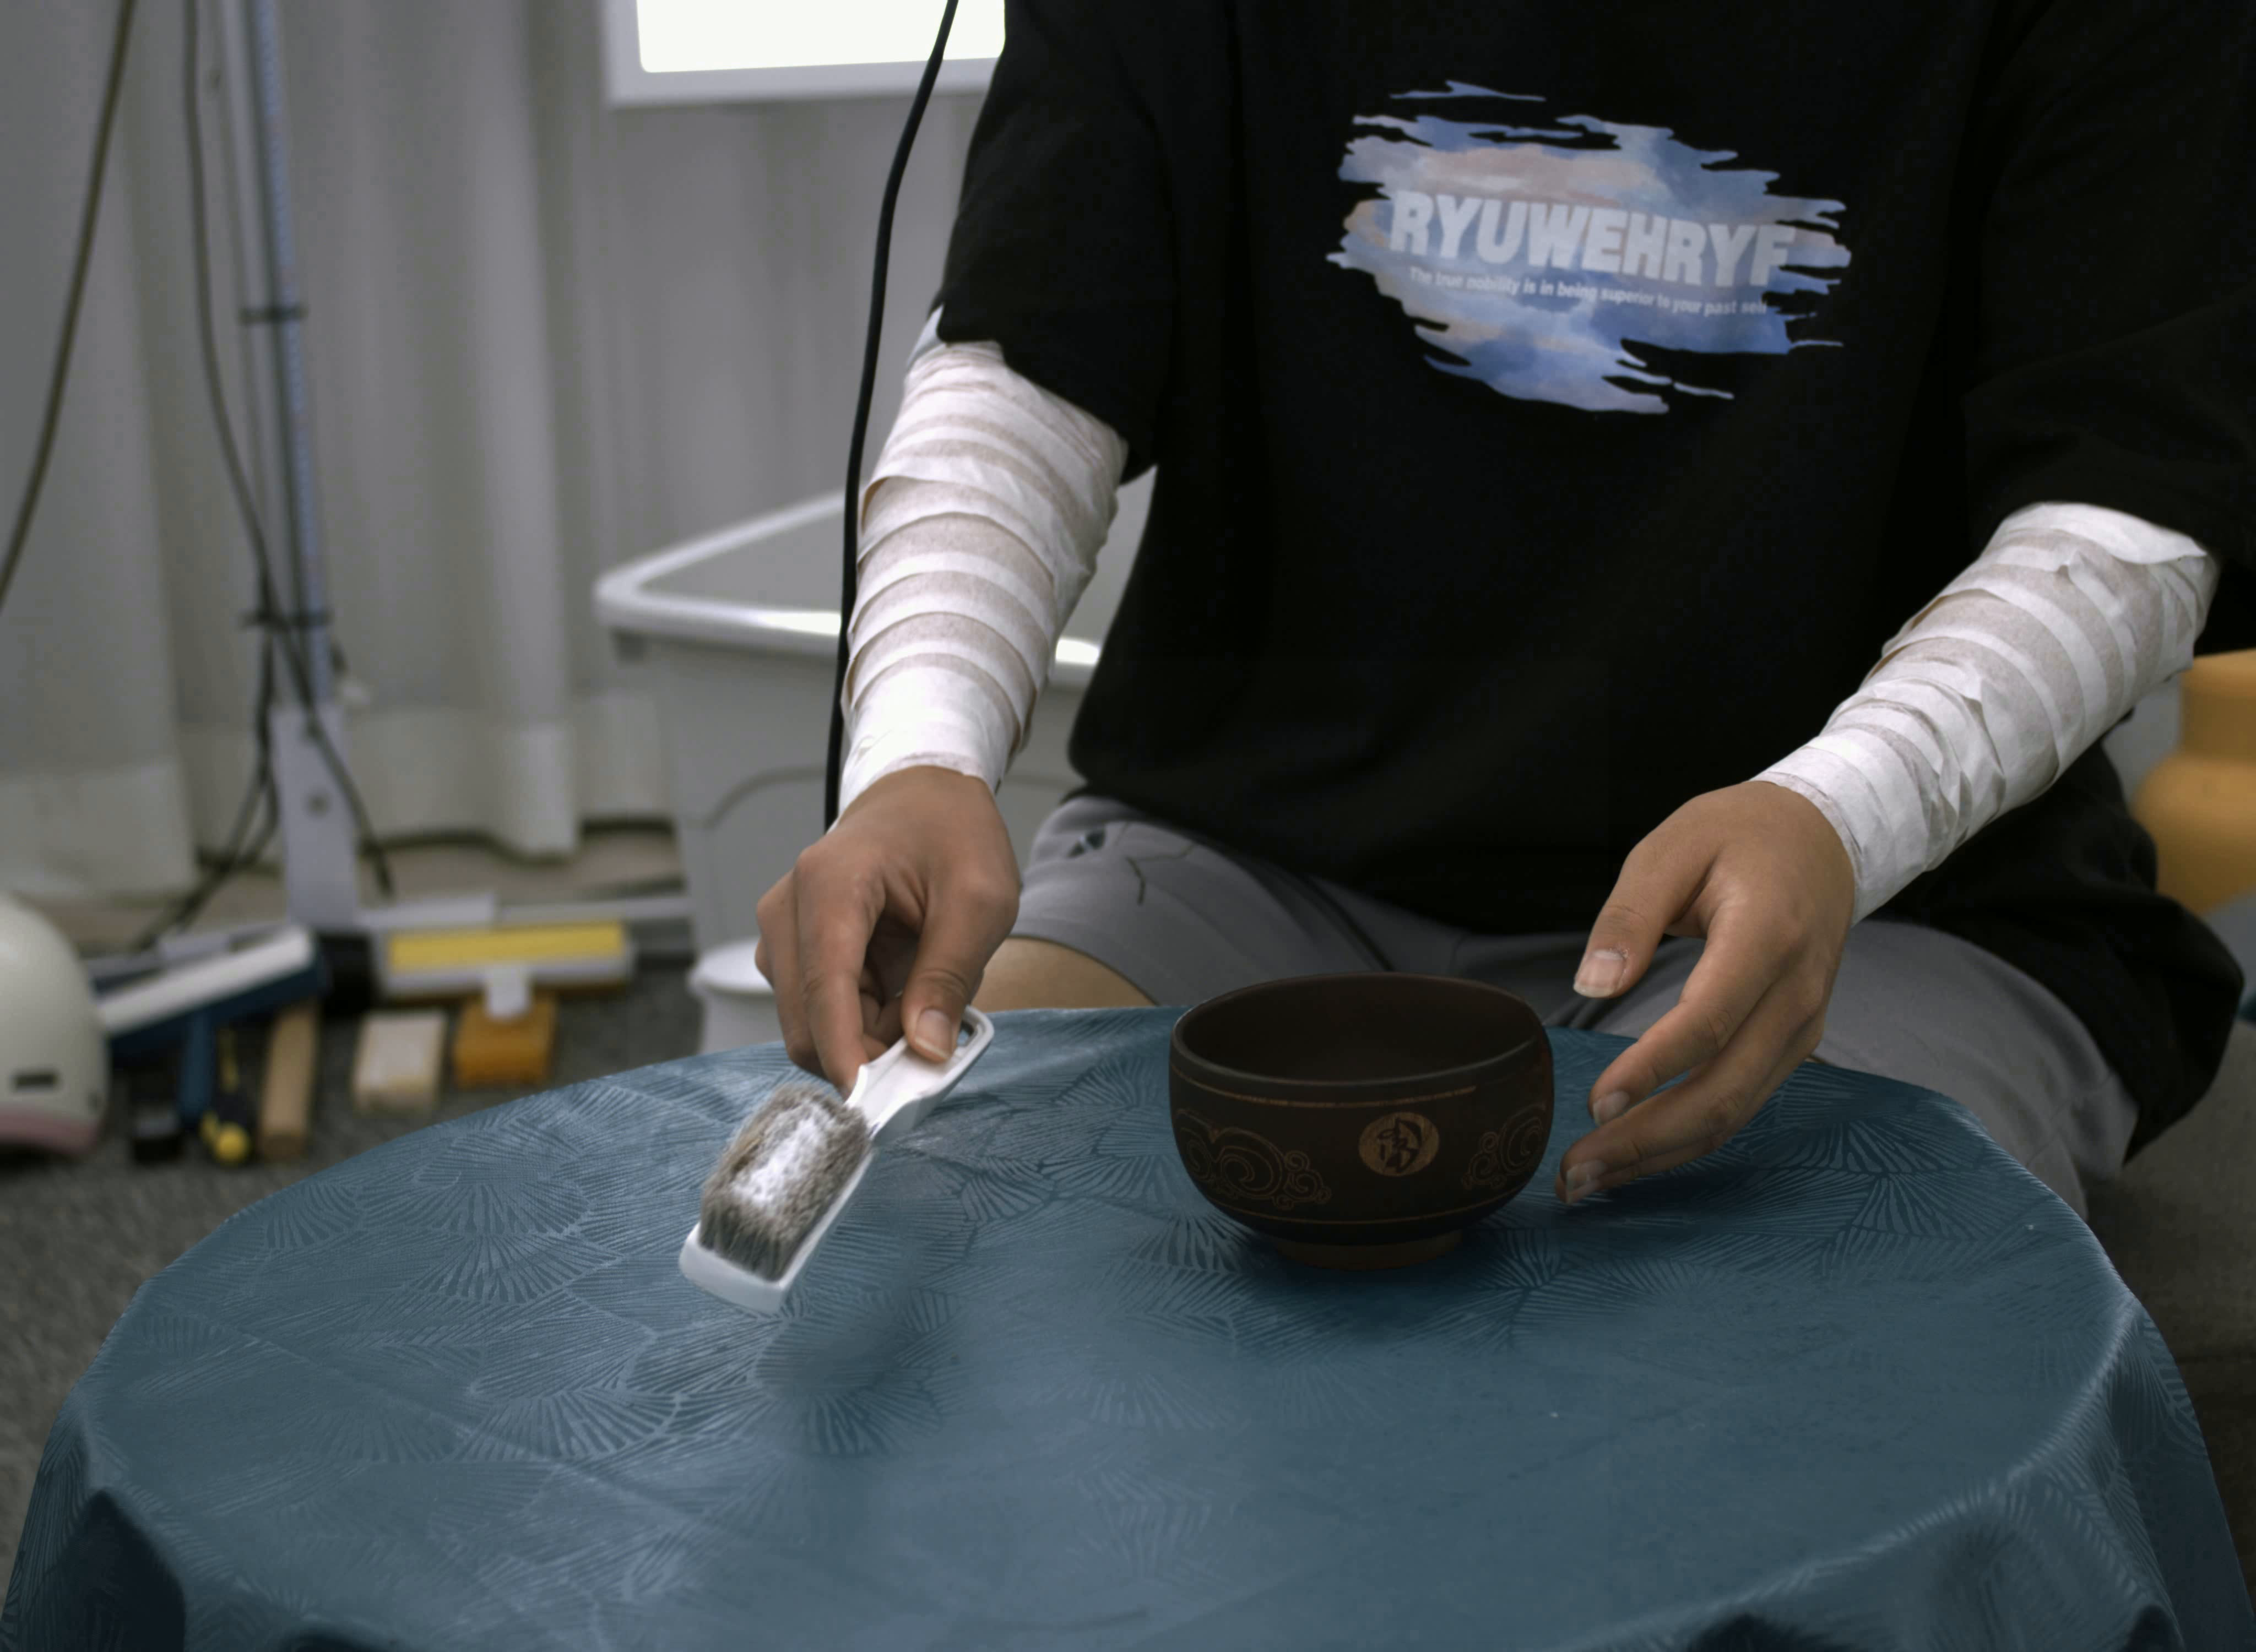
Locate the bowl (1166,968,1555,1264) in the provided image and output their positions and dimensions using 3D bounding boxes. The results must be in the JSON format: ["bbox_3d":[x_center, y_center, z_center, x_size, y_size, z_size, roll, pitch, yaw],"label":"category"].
[{"bbox_3d":[0.071,0.091,1.648,0.117,0.069,0.119,-3,12,0],"label":"bowl"}]

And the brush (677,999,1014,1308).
[{"bbox_3d":[-0.074,0.080,1.641,0.034,0.050,0.244,28,23,8],"label":"brush"}]
